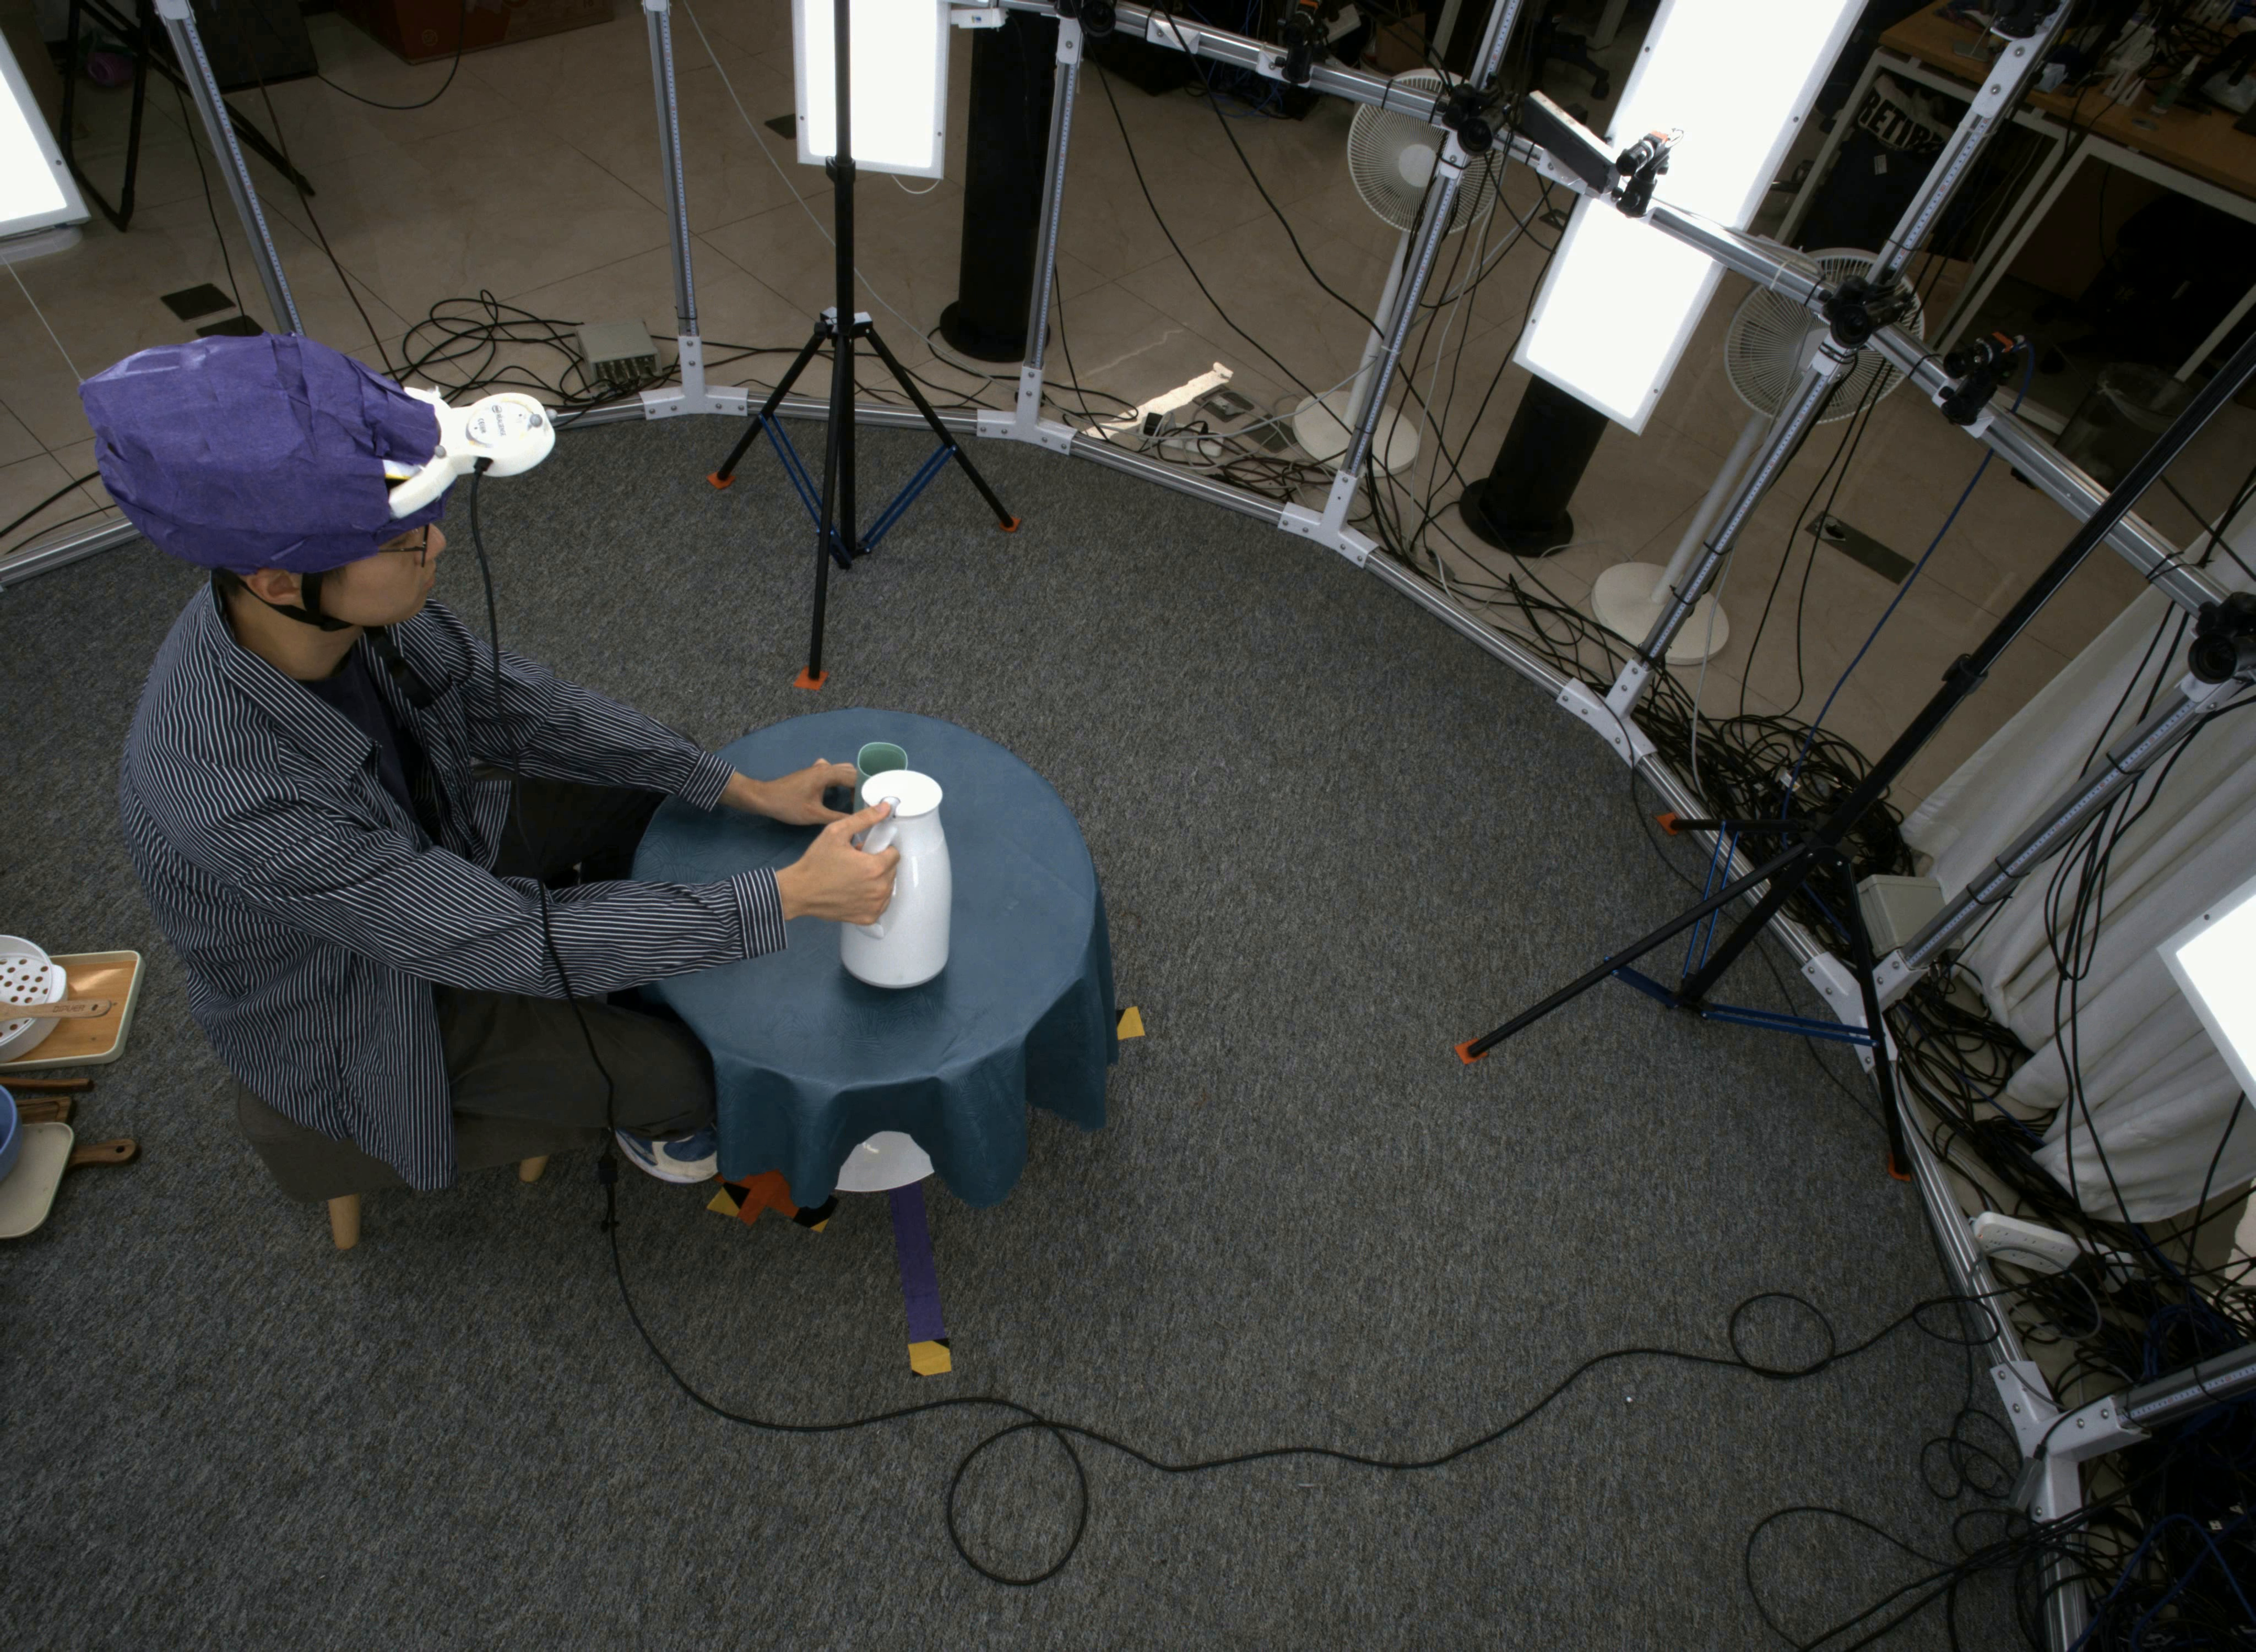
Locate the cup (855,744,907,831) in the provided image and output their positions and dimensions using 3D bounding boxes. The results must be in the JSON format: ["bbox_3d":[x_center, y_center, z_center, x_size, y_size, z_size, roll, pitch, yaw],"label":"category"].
[{"bbox_3d":[-0.325,-0.039,1.693,0.066,0.135,0.065,8,49,-8],"label":"cup"}]

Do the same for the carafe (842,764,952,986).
[{"bbox_3d":[-0.276,0.061,1.524,0.130,0.255,0.166,14,36,6],"label":"carafe"}]
